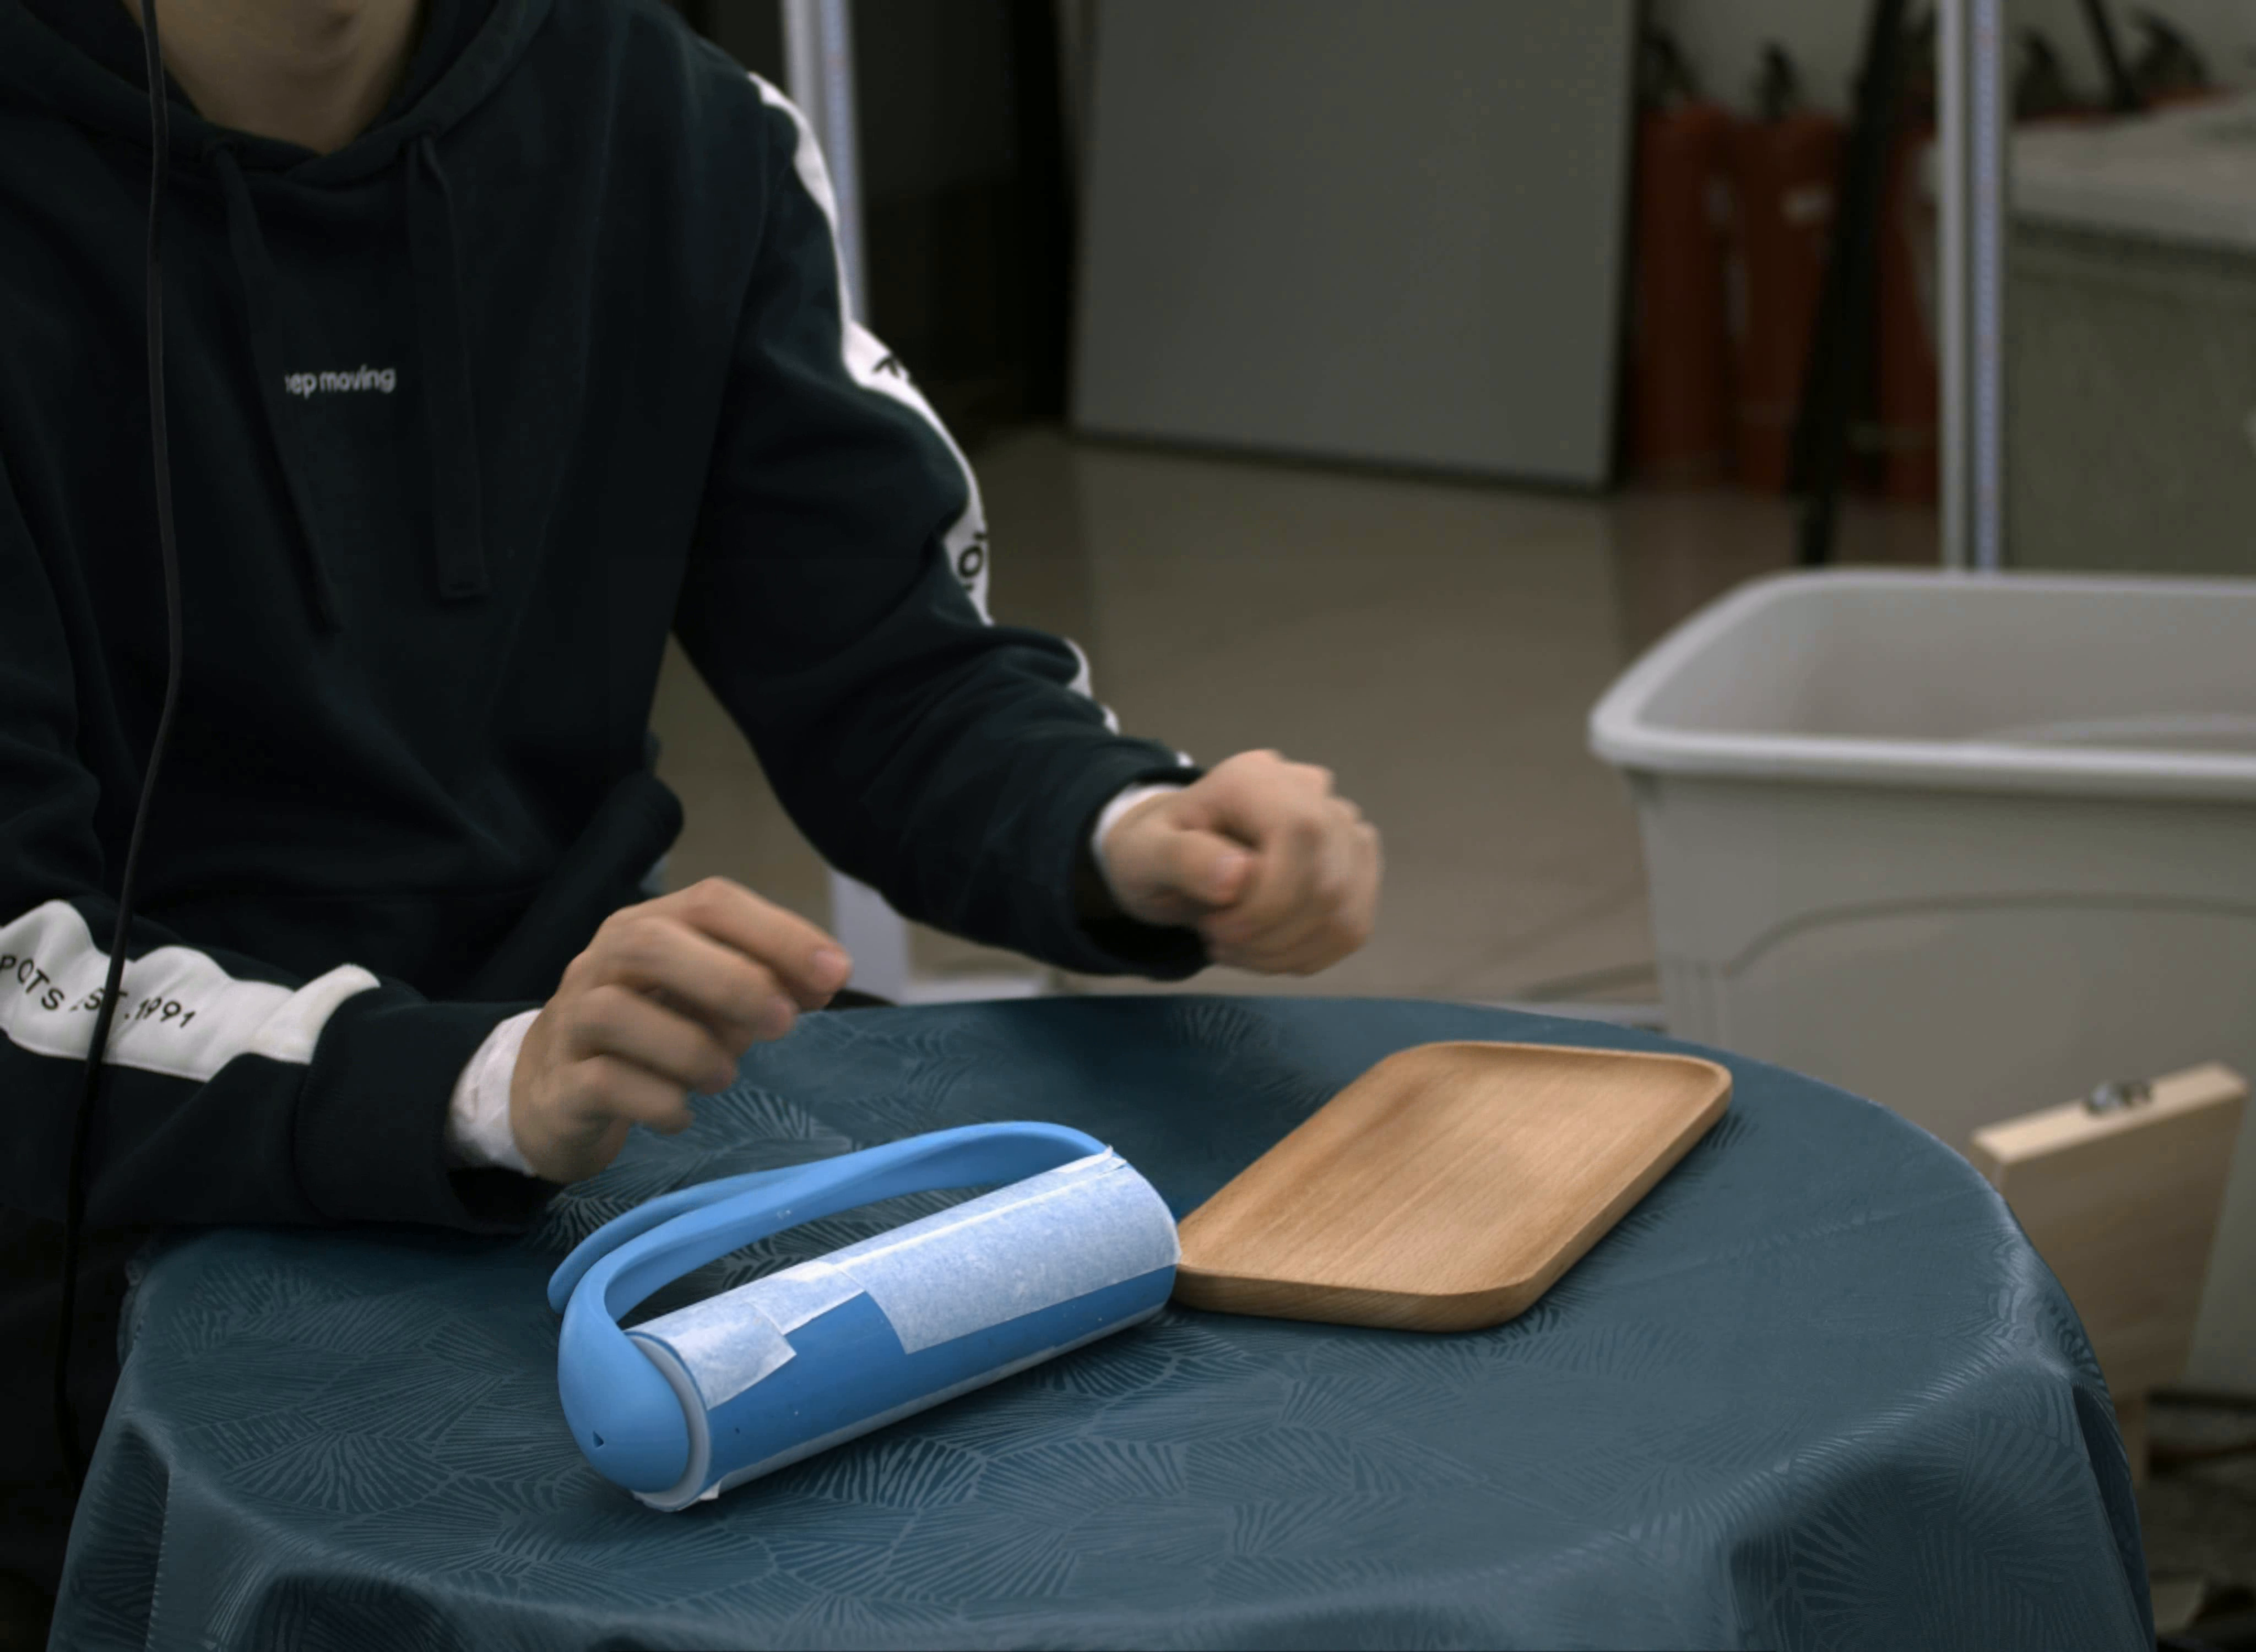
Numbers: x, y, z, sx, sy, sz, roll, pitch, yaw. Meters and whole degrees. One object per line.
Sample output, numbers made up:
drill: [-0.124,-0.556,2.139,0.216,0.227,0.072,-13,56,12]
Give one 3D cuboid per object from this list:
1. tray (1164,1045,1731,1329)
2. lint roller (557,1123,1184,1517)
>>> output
tray: [0.104,0.114,1.734,0.131,0.023,0.247,0,15,26]
lint roller: [-0.111,0.138,1.616,0.182,0.068,0.224,9,21,41]
